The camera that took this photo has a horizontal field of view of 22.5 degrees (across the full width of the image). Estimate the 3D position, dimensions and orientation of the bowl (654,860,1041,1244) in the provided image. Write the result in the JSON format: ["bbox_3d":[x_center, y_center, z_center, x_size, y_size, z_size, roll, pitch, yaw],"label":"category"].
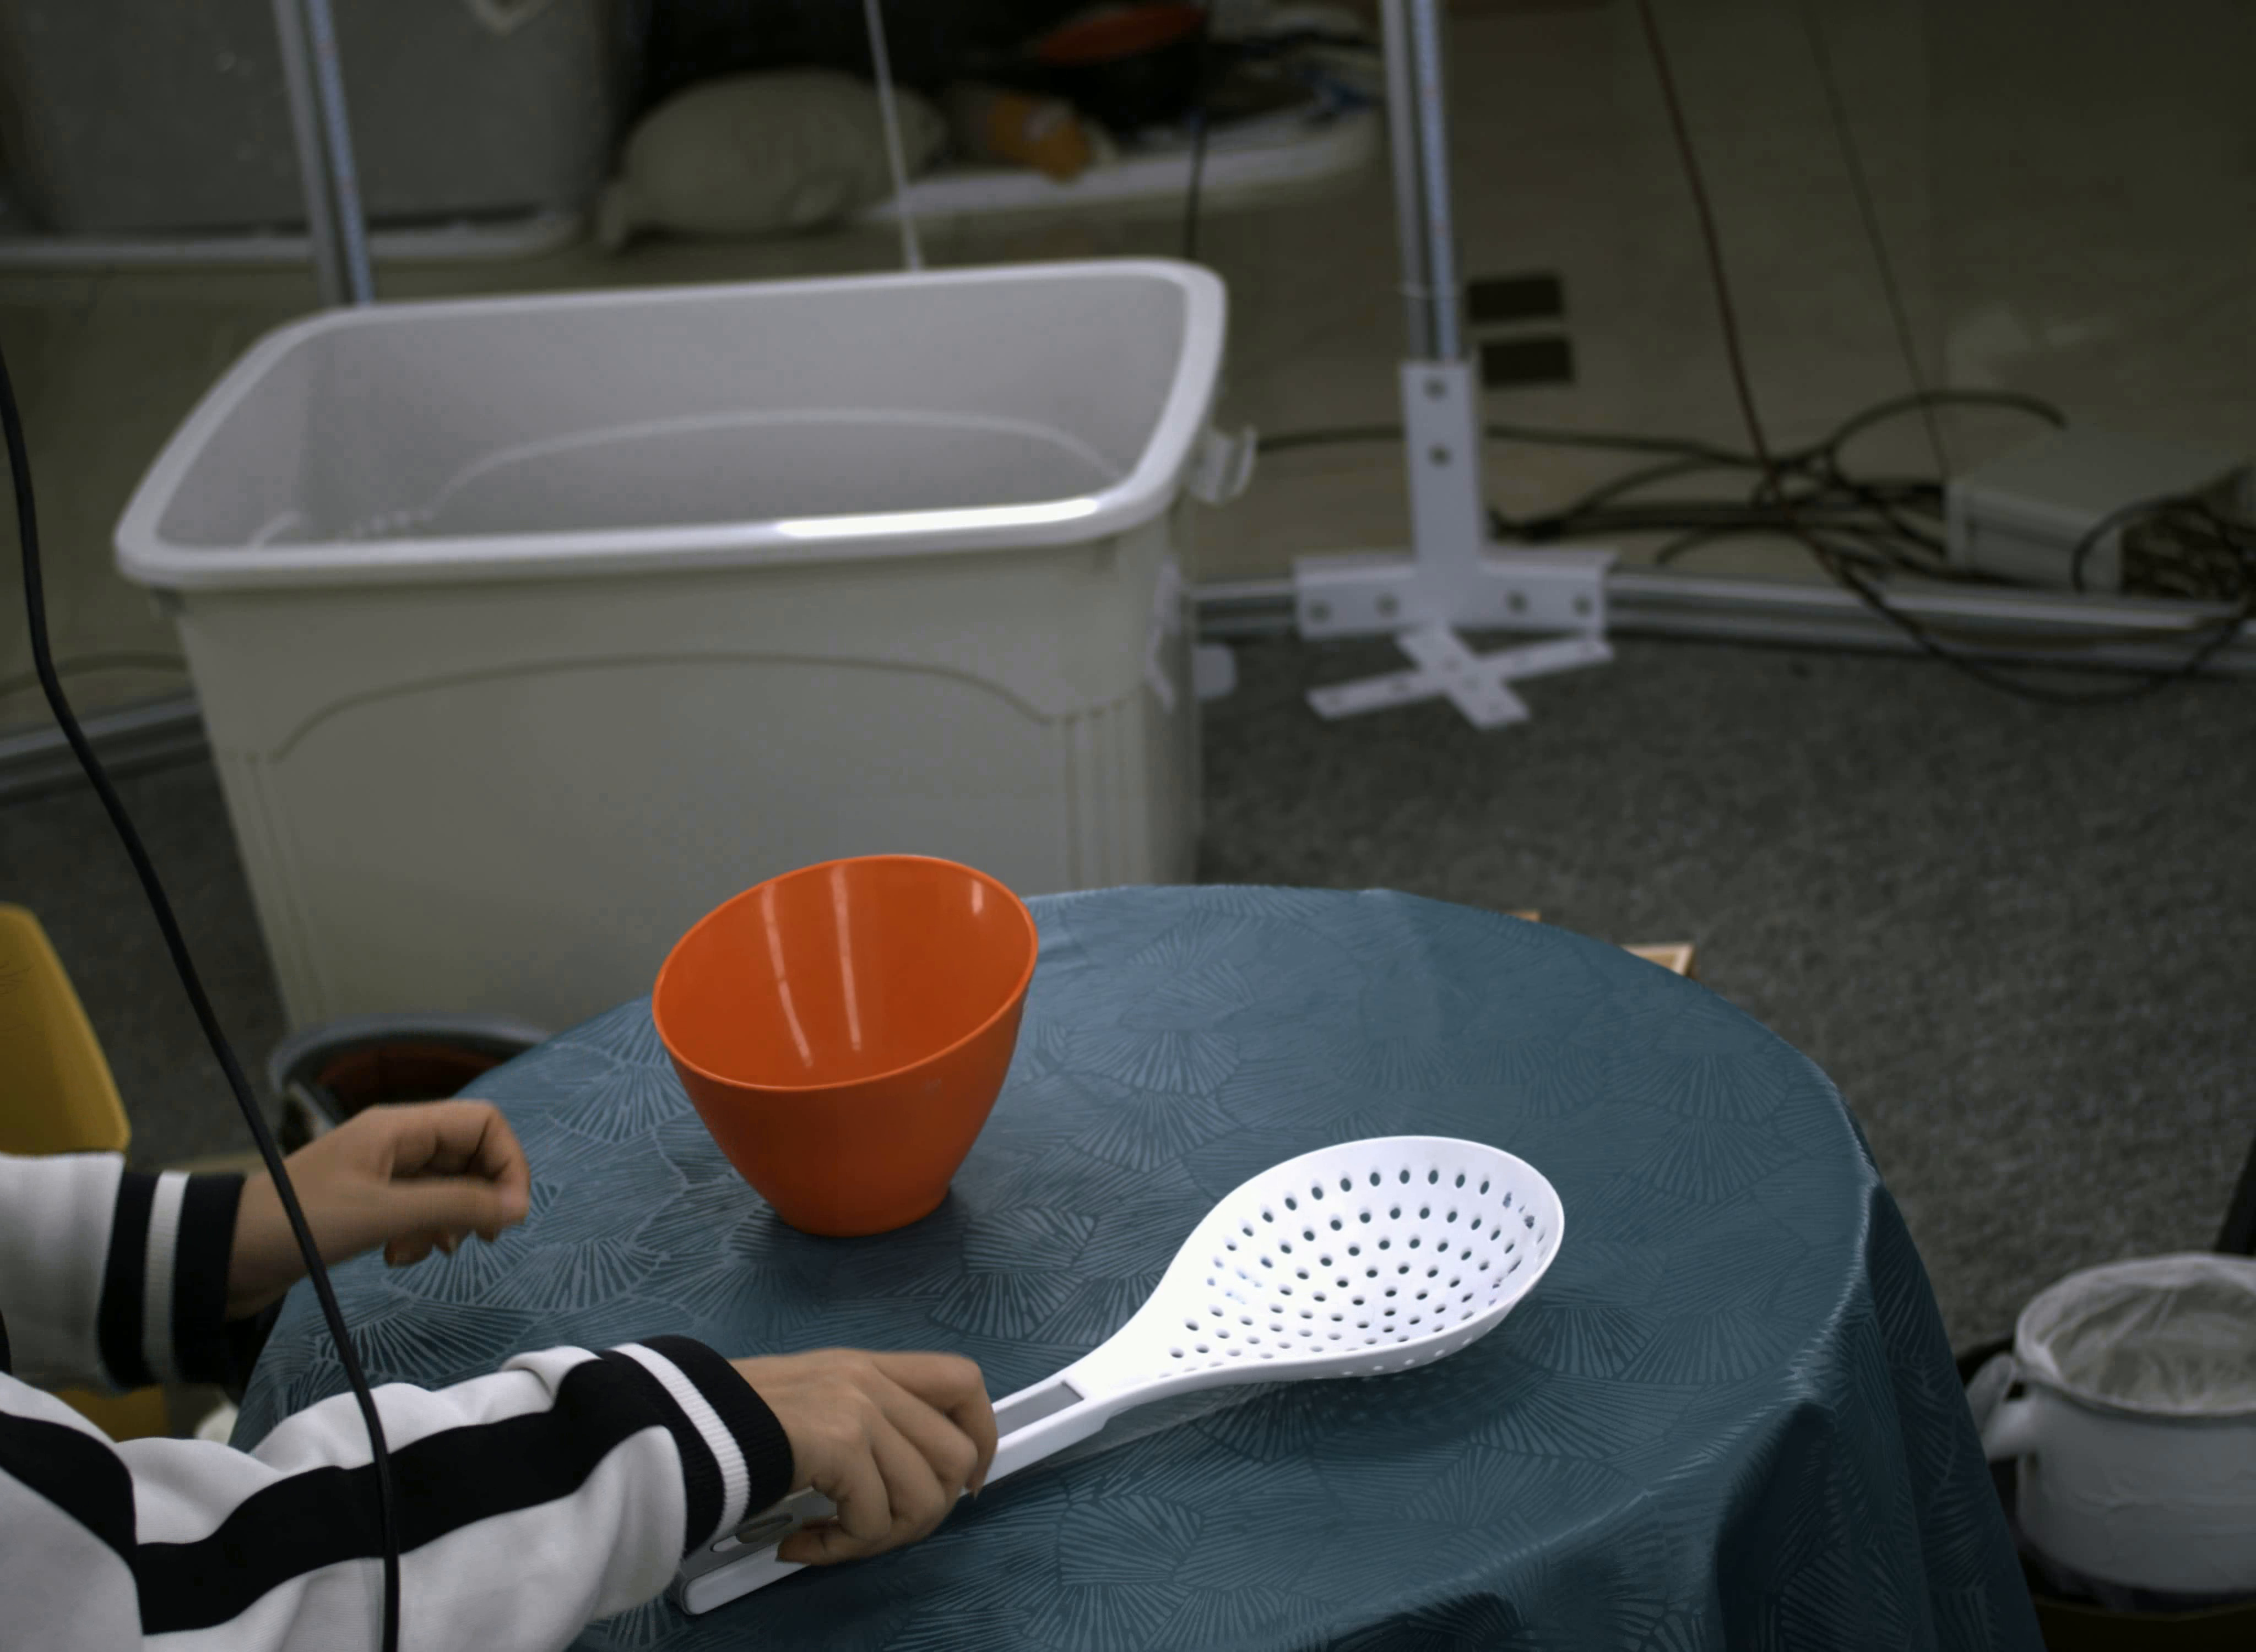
[{"bbox_3d":[-0.103,0.092,2.154,0.148,0.106,0.146,-4,27,2],"label":"bowl"}]

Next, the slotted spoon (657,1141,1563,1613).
[{"bbox_3d":[-0.005,0.194,1.977,0.348,0.046,0.134,-19,29,-23],"label":"slotted spoon"}]
